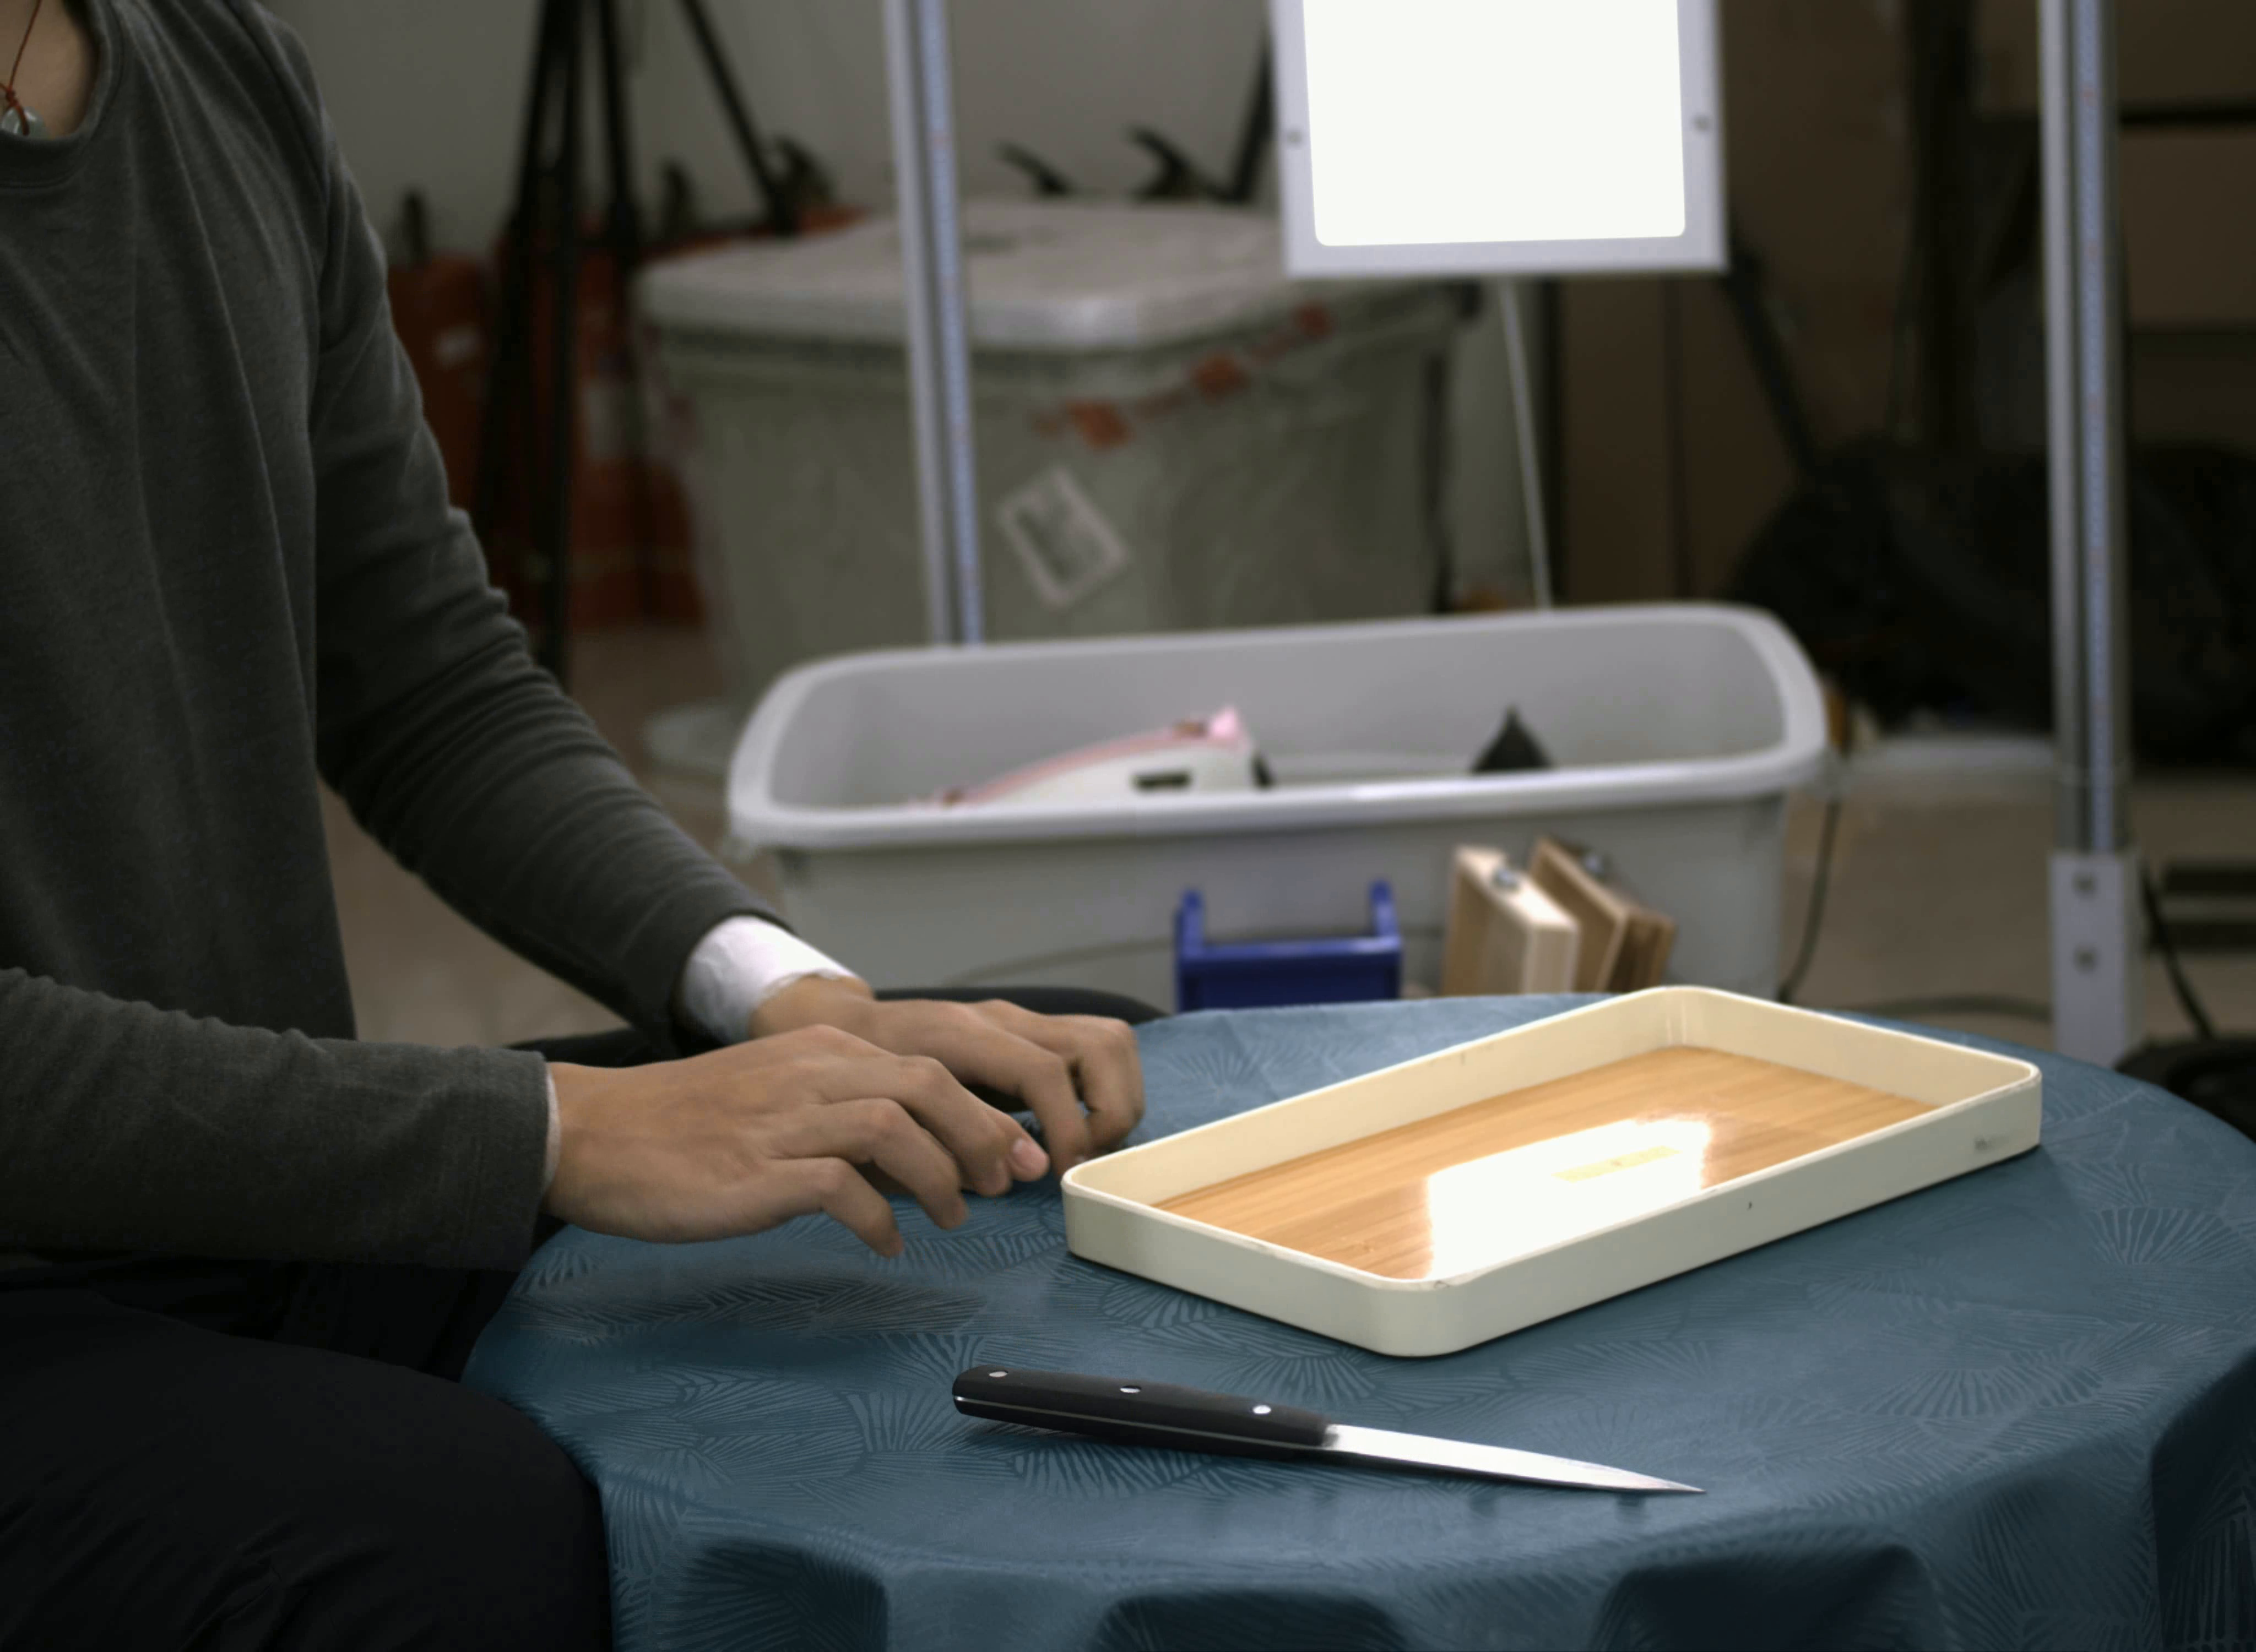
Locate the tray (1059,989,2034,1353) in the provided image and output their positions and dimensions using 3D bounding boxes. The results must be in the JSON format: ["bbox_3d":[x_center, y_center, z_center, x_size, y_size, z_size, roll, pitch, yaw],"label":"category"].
[{"bbox_3d":[0.145,0.112,1.854,0.293,0.027,0.195,-15,16,-34],"label":"tray"}]

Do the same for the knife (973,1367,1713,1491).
[{"bbox_3d":[0.060,0.182,1.630,0.242,0.016,0.024,5,18,26],"label":"knife"}]
